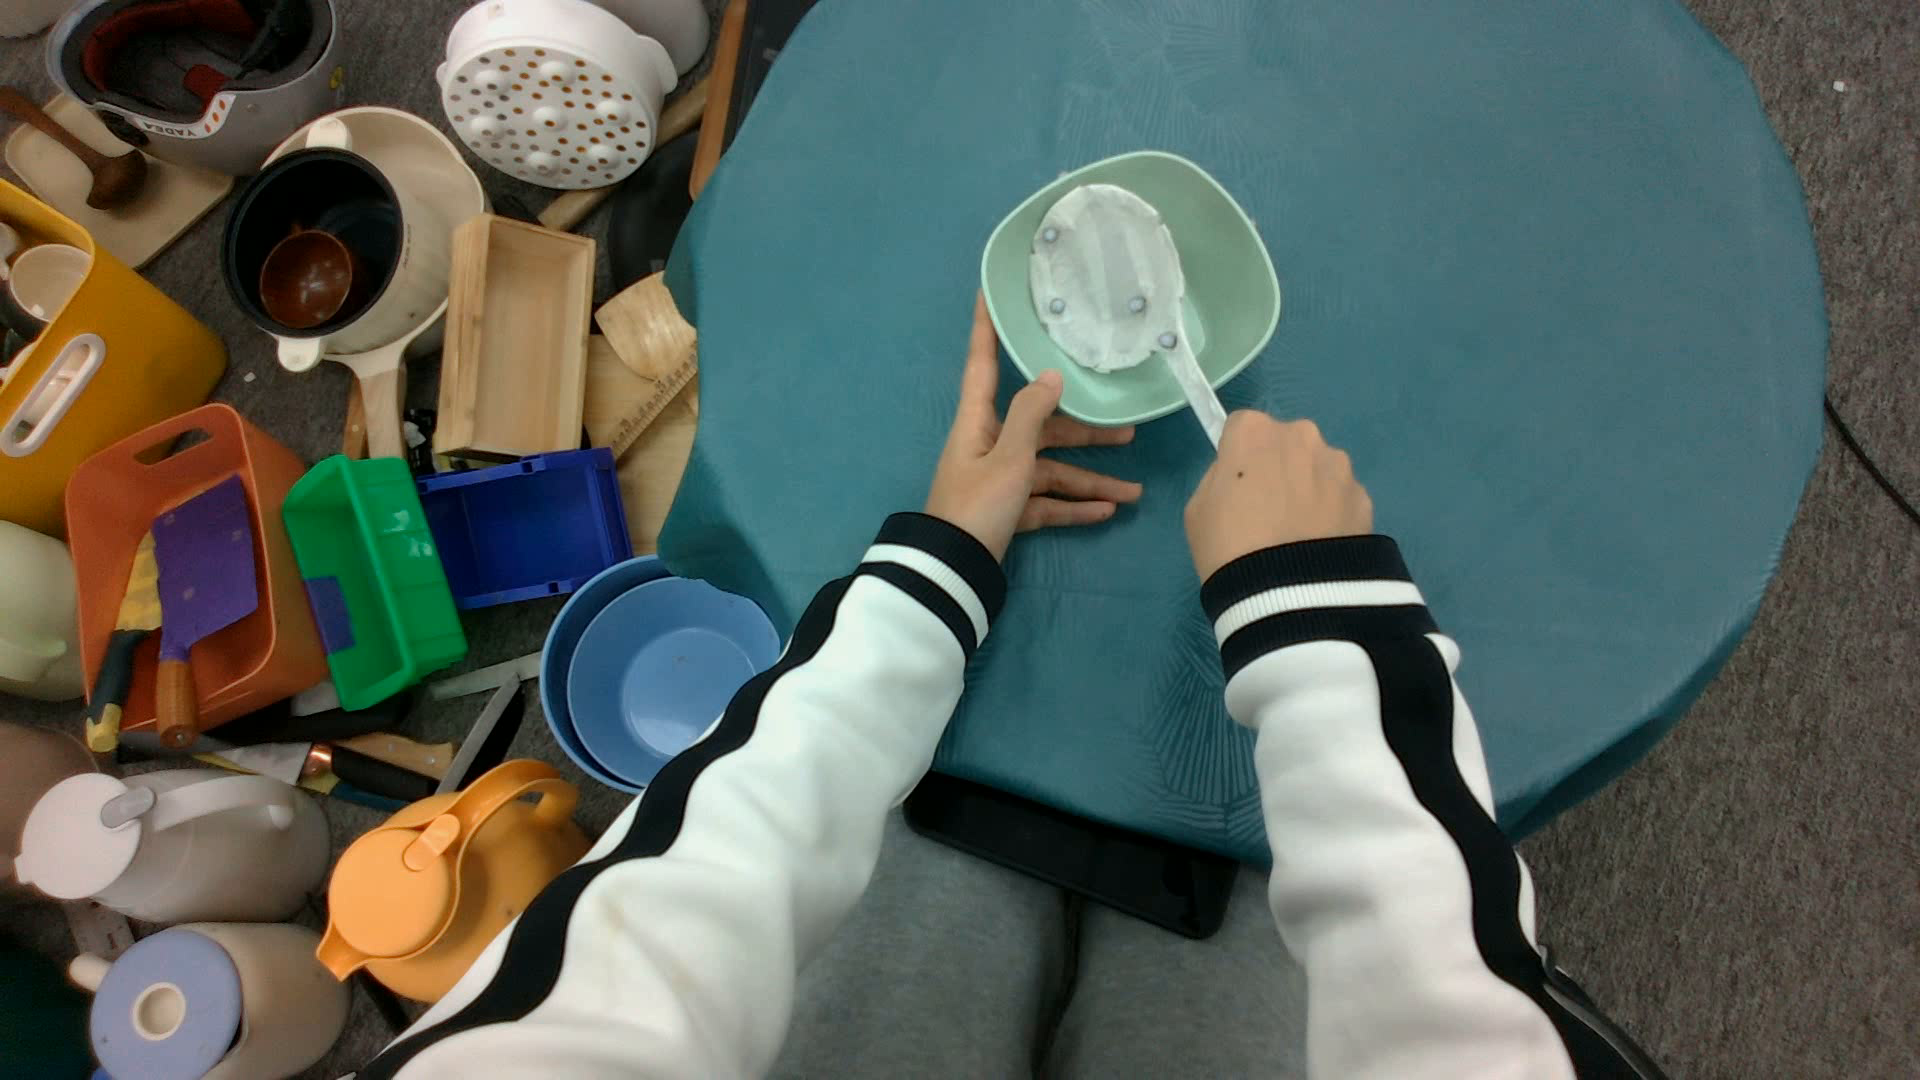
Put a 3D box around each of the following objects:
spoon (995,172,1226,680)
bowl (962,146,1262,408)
[{"bbox_3d":[0.066,-0.057,0.657,0.059,0.100,0.278,6,55,-23],"label":"spoon"},{"bbox_3d":[0.075,-0.125,0.708,0.151,0.058,0.152,0,67,1],"label":"bowl"}]
